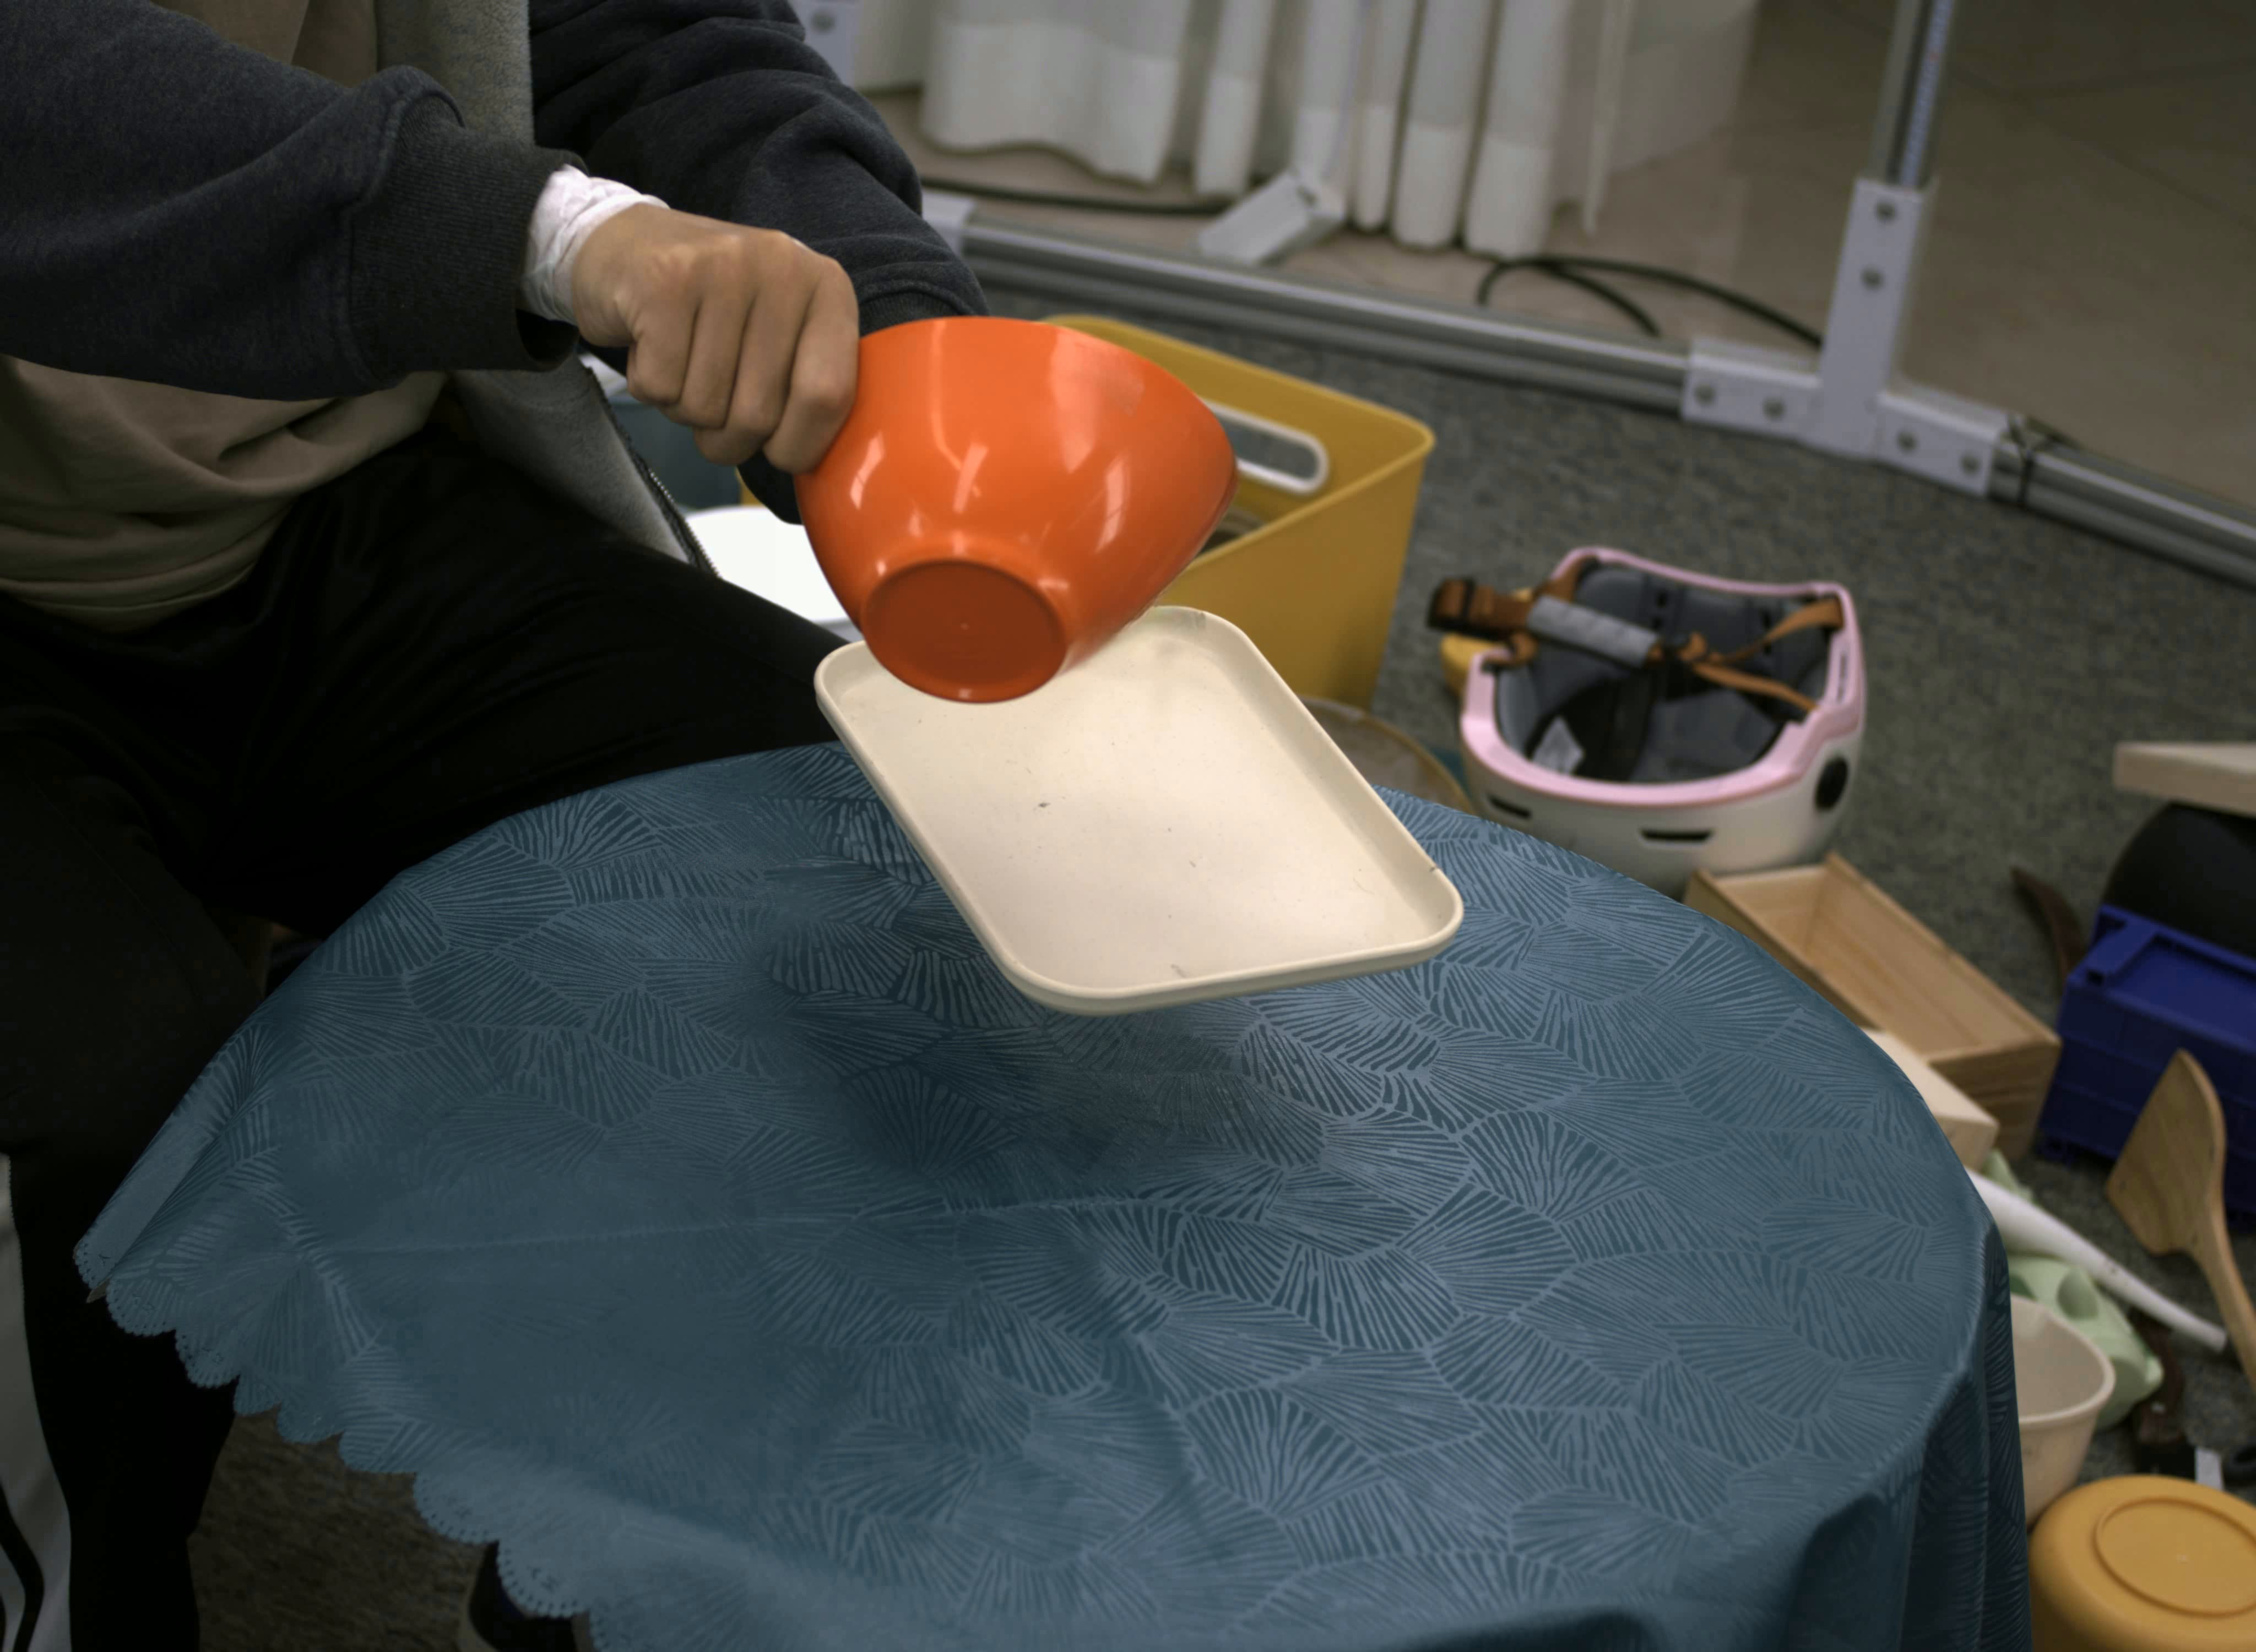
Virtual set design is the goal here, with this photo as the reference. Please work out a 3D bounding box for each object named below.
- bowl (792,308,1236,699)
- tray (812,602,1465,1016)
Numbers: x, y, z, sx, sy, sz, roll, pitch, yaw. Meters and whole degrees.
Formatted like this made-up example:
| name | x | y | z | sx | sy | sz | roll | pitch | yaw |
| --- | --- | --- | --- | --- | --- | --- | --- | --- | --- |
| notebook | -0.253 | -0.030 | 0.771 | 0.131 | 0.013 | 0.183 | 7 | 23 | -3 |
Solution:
| name | x | y | z | sx | sy | sz | roll | pitch | yaw |
| --- | --- | --- | --- | --- | --- | --- | --- | --- | --- |
| bowl | -0.044 | -0.091 | 1.718 | 0.148 | 0.147 | 0.105 | 9 | 47 | 4 |
| tray | 0.000 | -0.008 | 1.867 | 0.170 | 0.017 | 0.242 | -9 | 34 | -21 |
